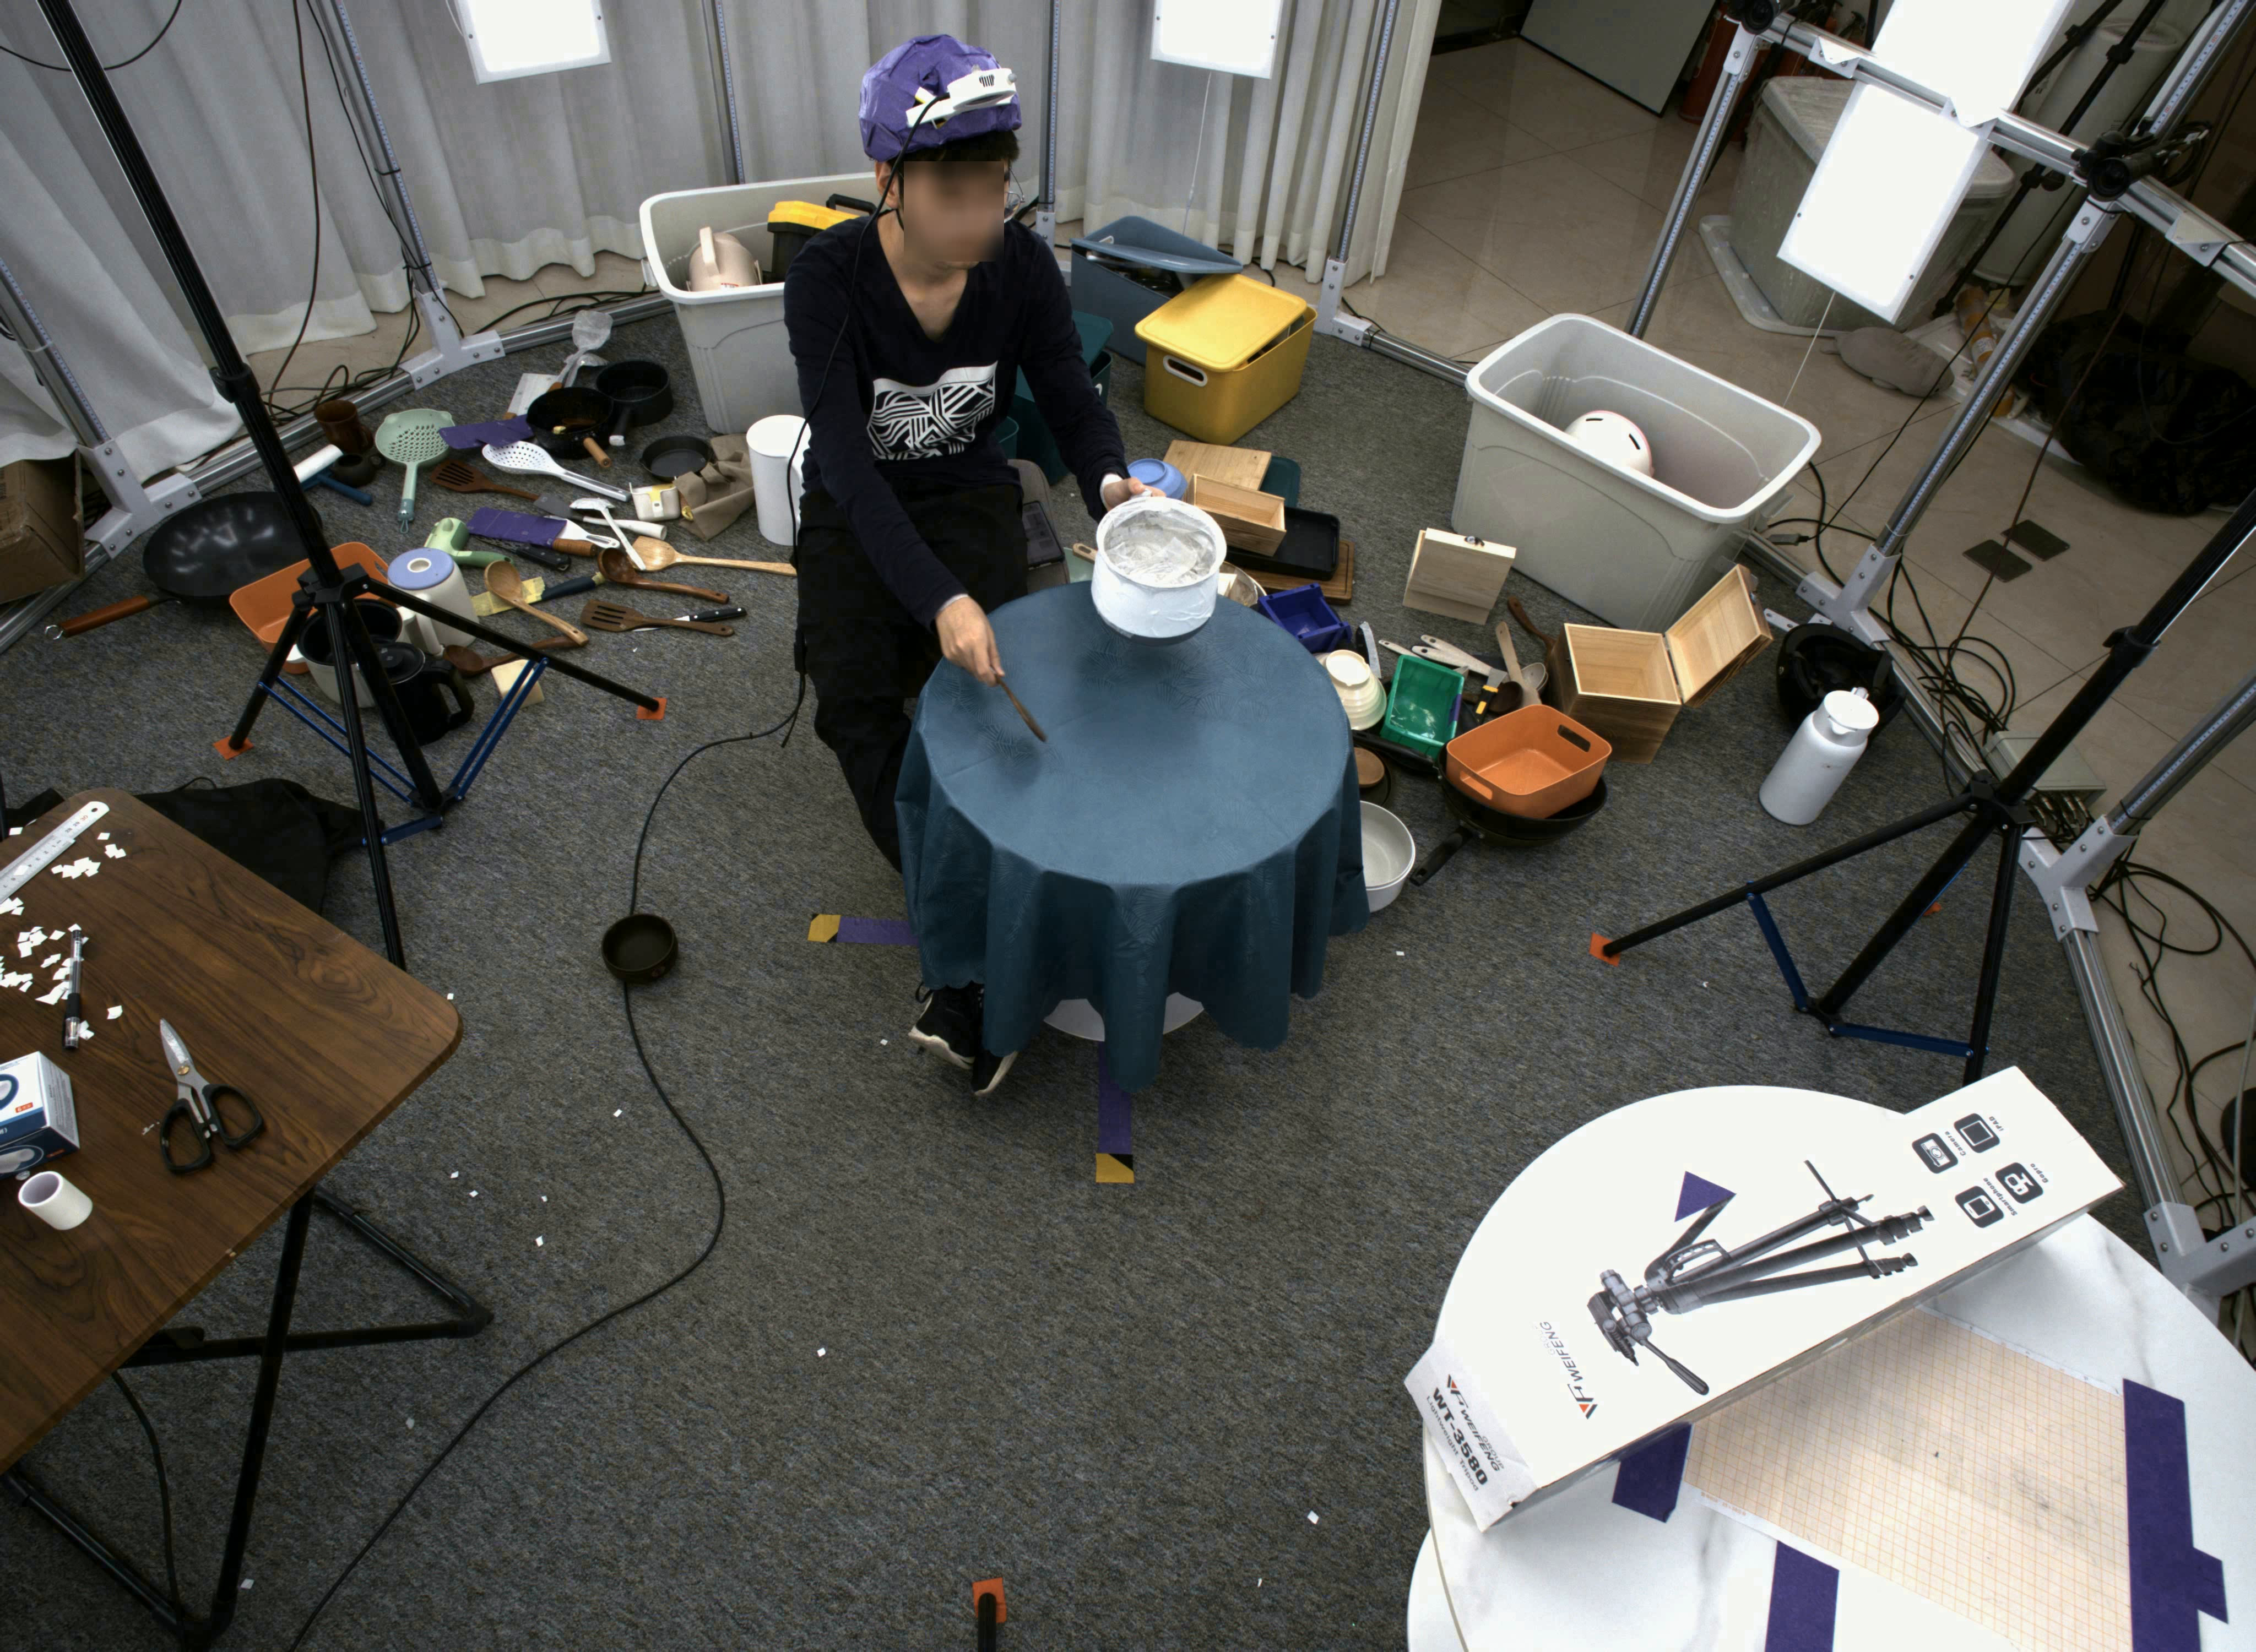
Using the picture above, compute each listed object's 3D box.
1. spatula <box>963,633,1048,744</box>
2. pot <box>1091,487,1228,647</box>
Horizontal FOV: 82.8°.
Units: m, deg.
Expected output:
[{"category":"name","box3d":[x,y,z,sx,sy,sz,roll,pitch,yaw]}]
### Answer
[{"category":"spatula","box3d":[-0.169,-0.190,1.753,0.009,0.070,0.220,-40,62,4]},{"category":"pot","box3d":[0.033,-0.372,1.801,0.178,0.133,0.239,-7,56,-14]}]
